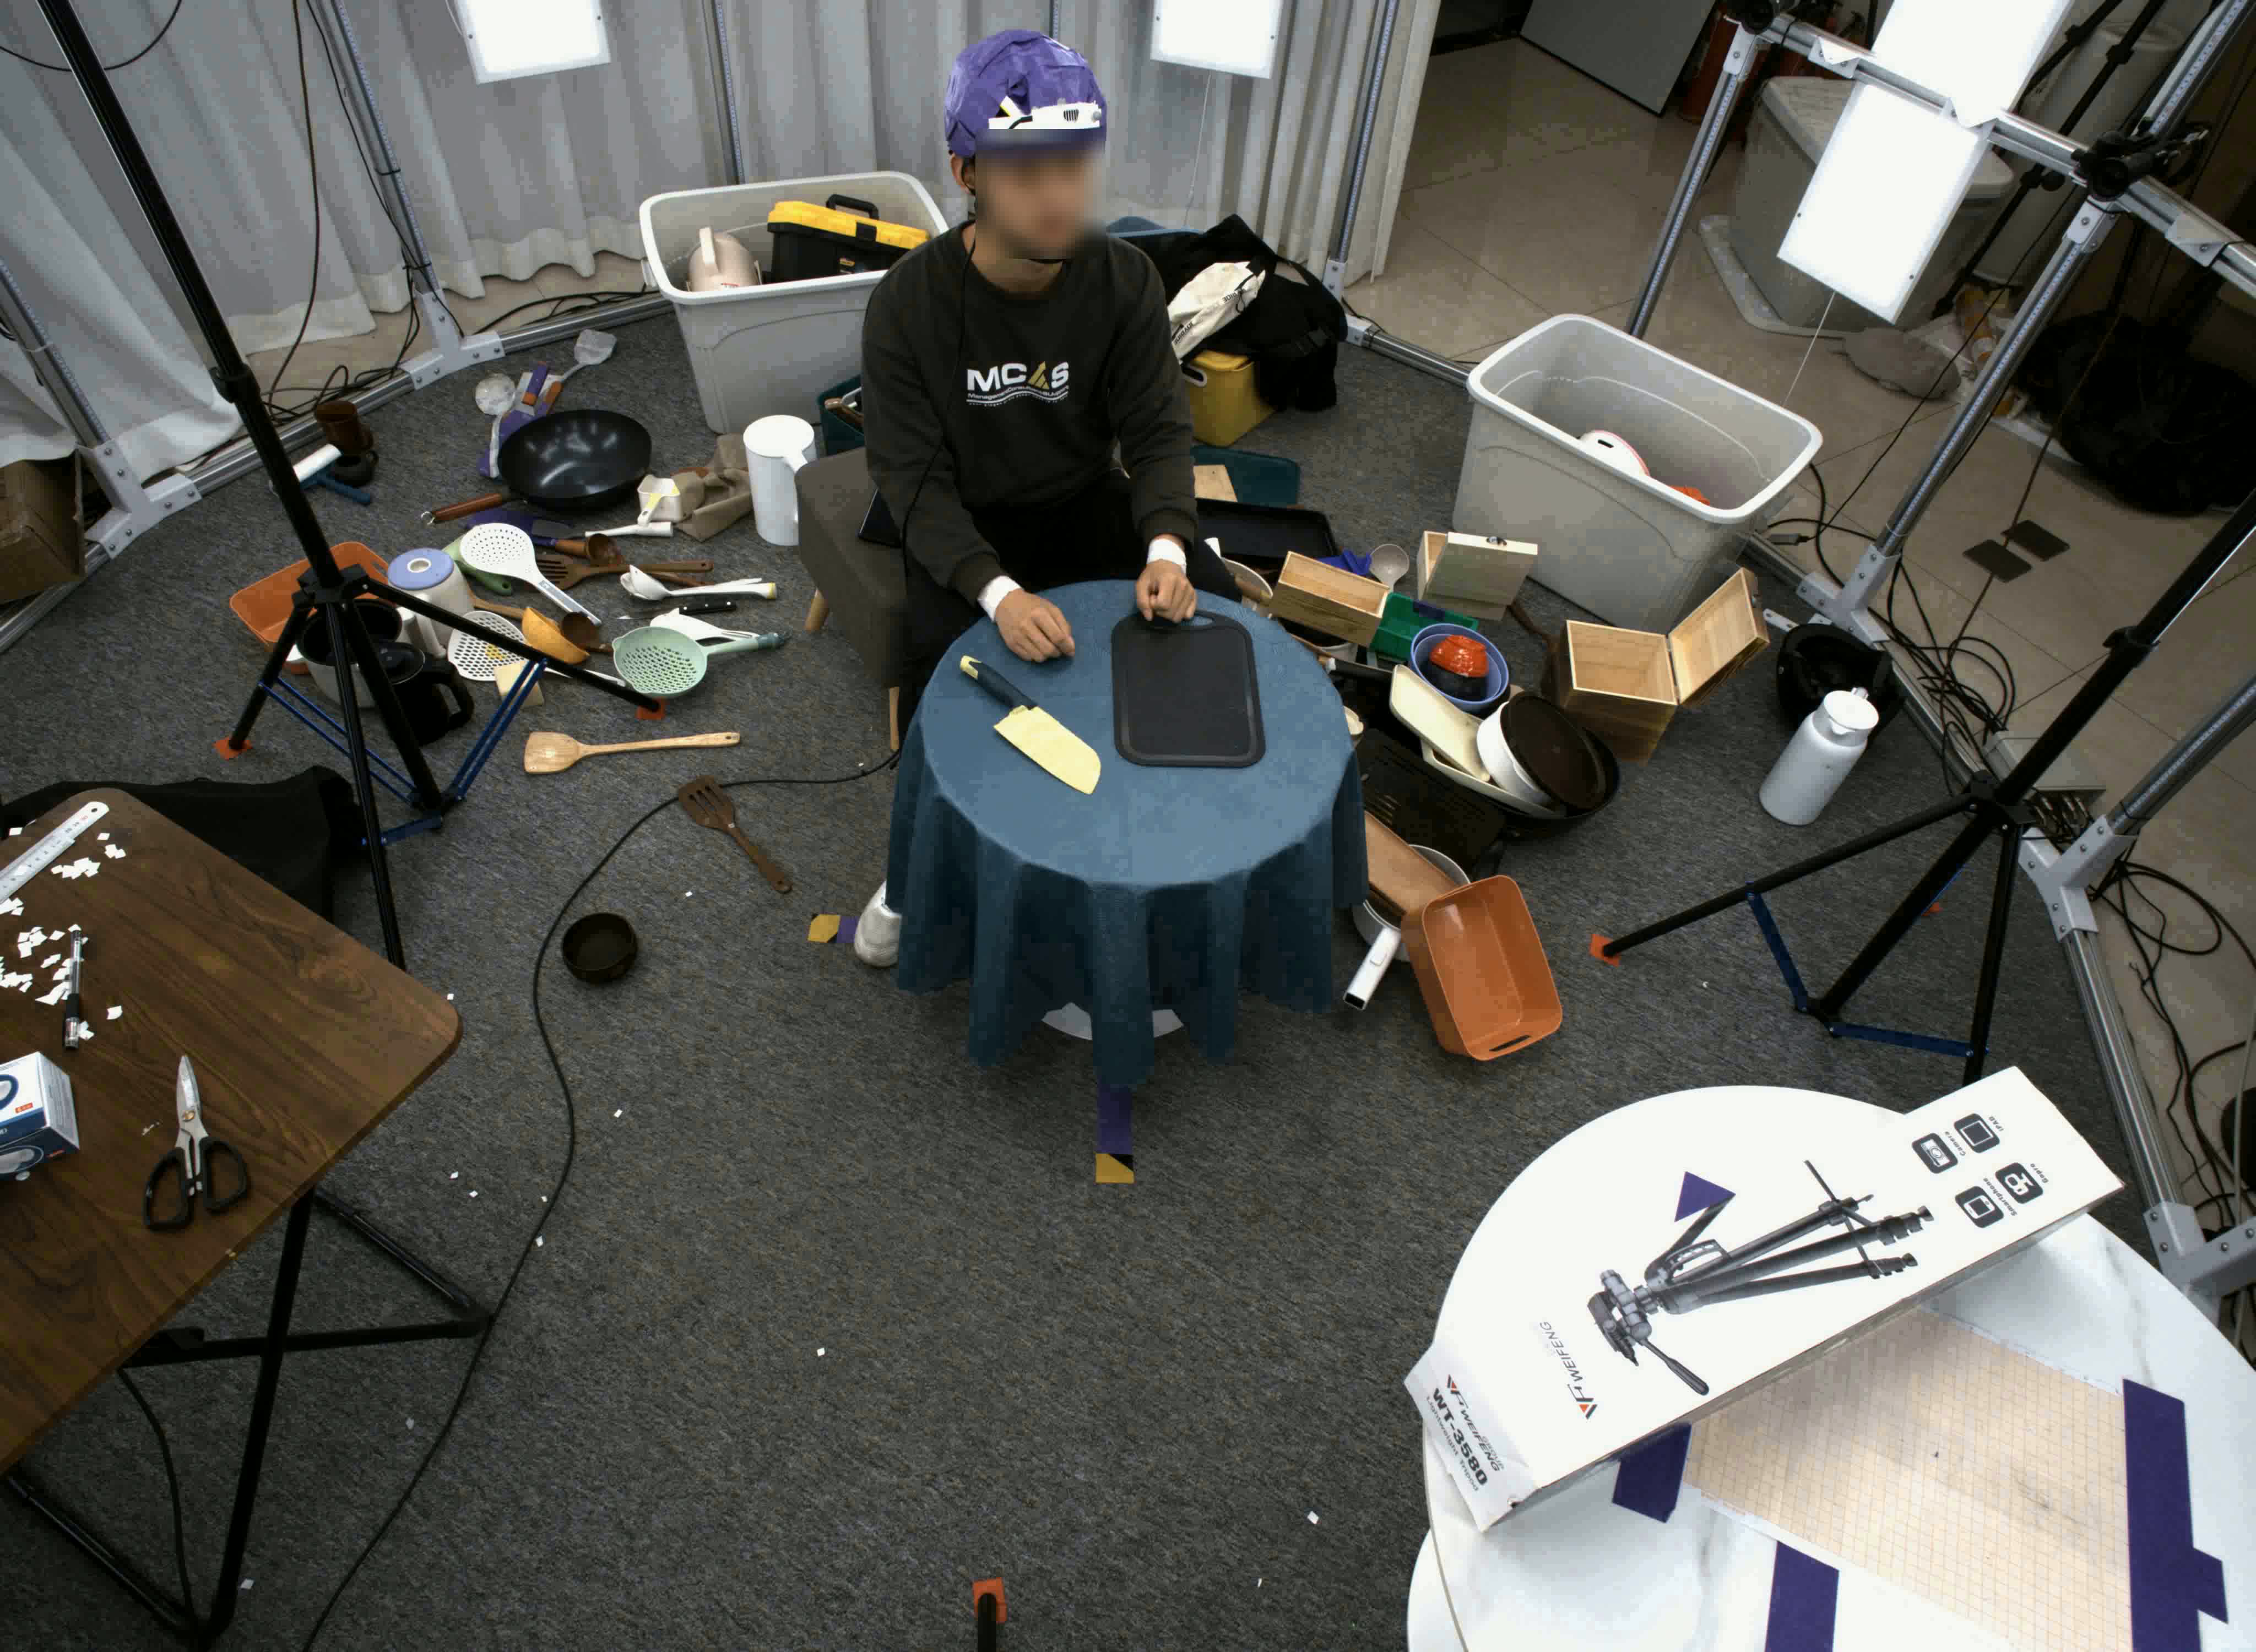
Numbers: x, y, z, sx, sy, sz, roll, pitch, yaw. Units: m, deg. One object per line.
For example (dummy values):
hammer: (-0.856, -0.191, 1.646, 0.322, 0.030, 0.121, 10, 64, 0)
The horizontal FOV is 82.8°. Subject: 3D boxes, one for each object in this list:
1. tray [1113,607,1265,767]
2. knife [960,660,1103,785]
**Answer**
tray: (0.083, -0.209, 1.849, 0.211, 0.009, 0.333, 1, 49, -3)
knife: (-0.142, -0.142, 1.771, 0.082, 0.026, 0.294, -34, 60, -30)
